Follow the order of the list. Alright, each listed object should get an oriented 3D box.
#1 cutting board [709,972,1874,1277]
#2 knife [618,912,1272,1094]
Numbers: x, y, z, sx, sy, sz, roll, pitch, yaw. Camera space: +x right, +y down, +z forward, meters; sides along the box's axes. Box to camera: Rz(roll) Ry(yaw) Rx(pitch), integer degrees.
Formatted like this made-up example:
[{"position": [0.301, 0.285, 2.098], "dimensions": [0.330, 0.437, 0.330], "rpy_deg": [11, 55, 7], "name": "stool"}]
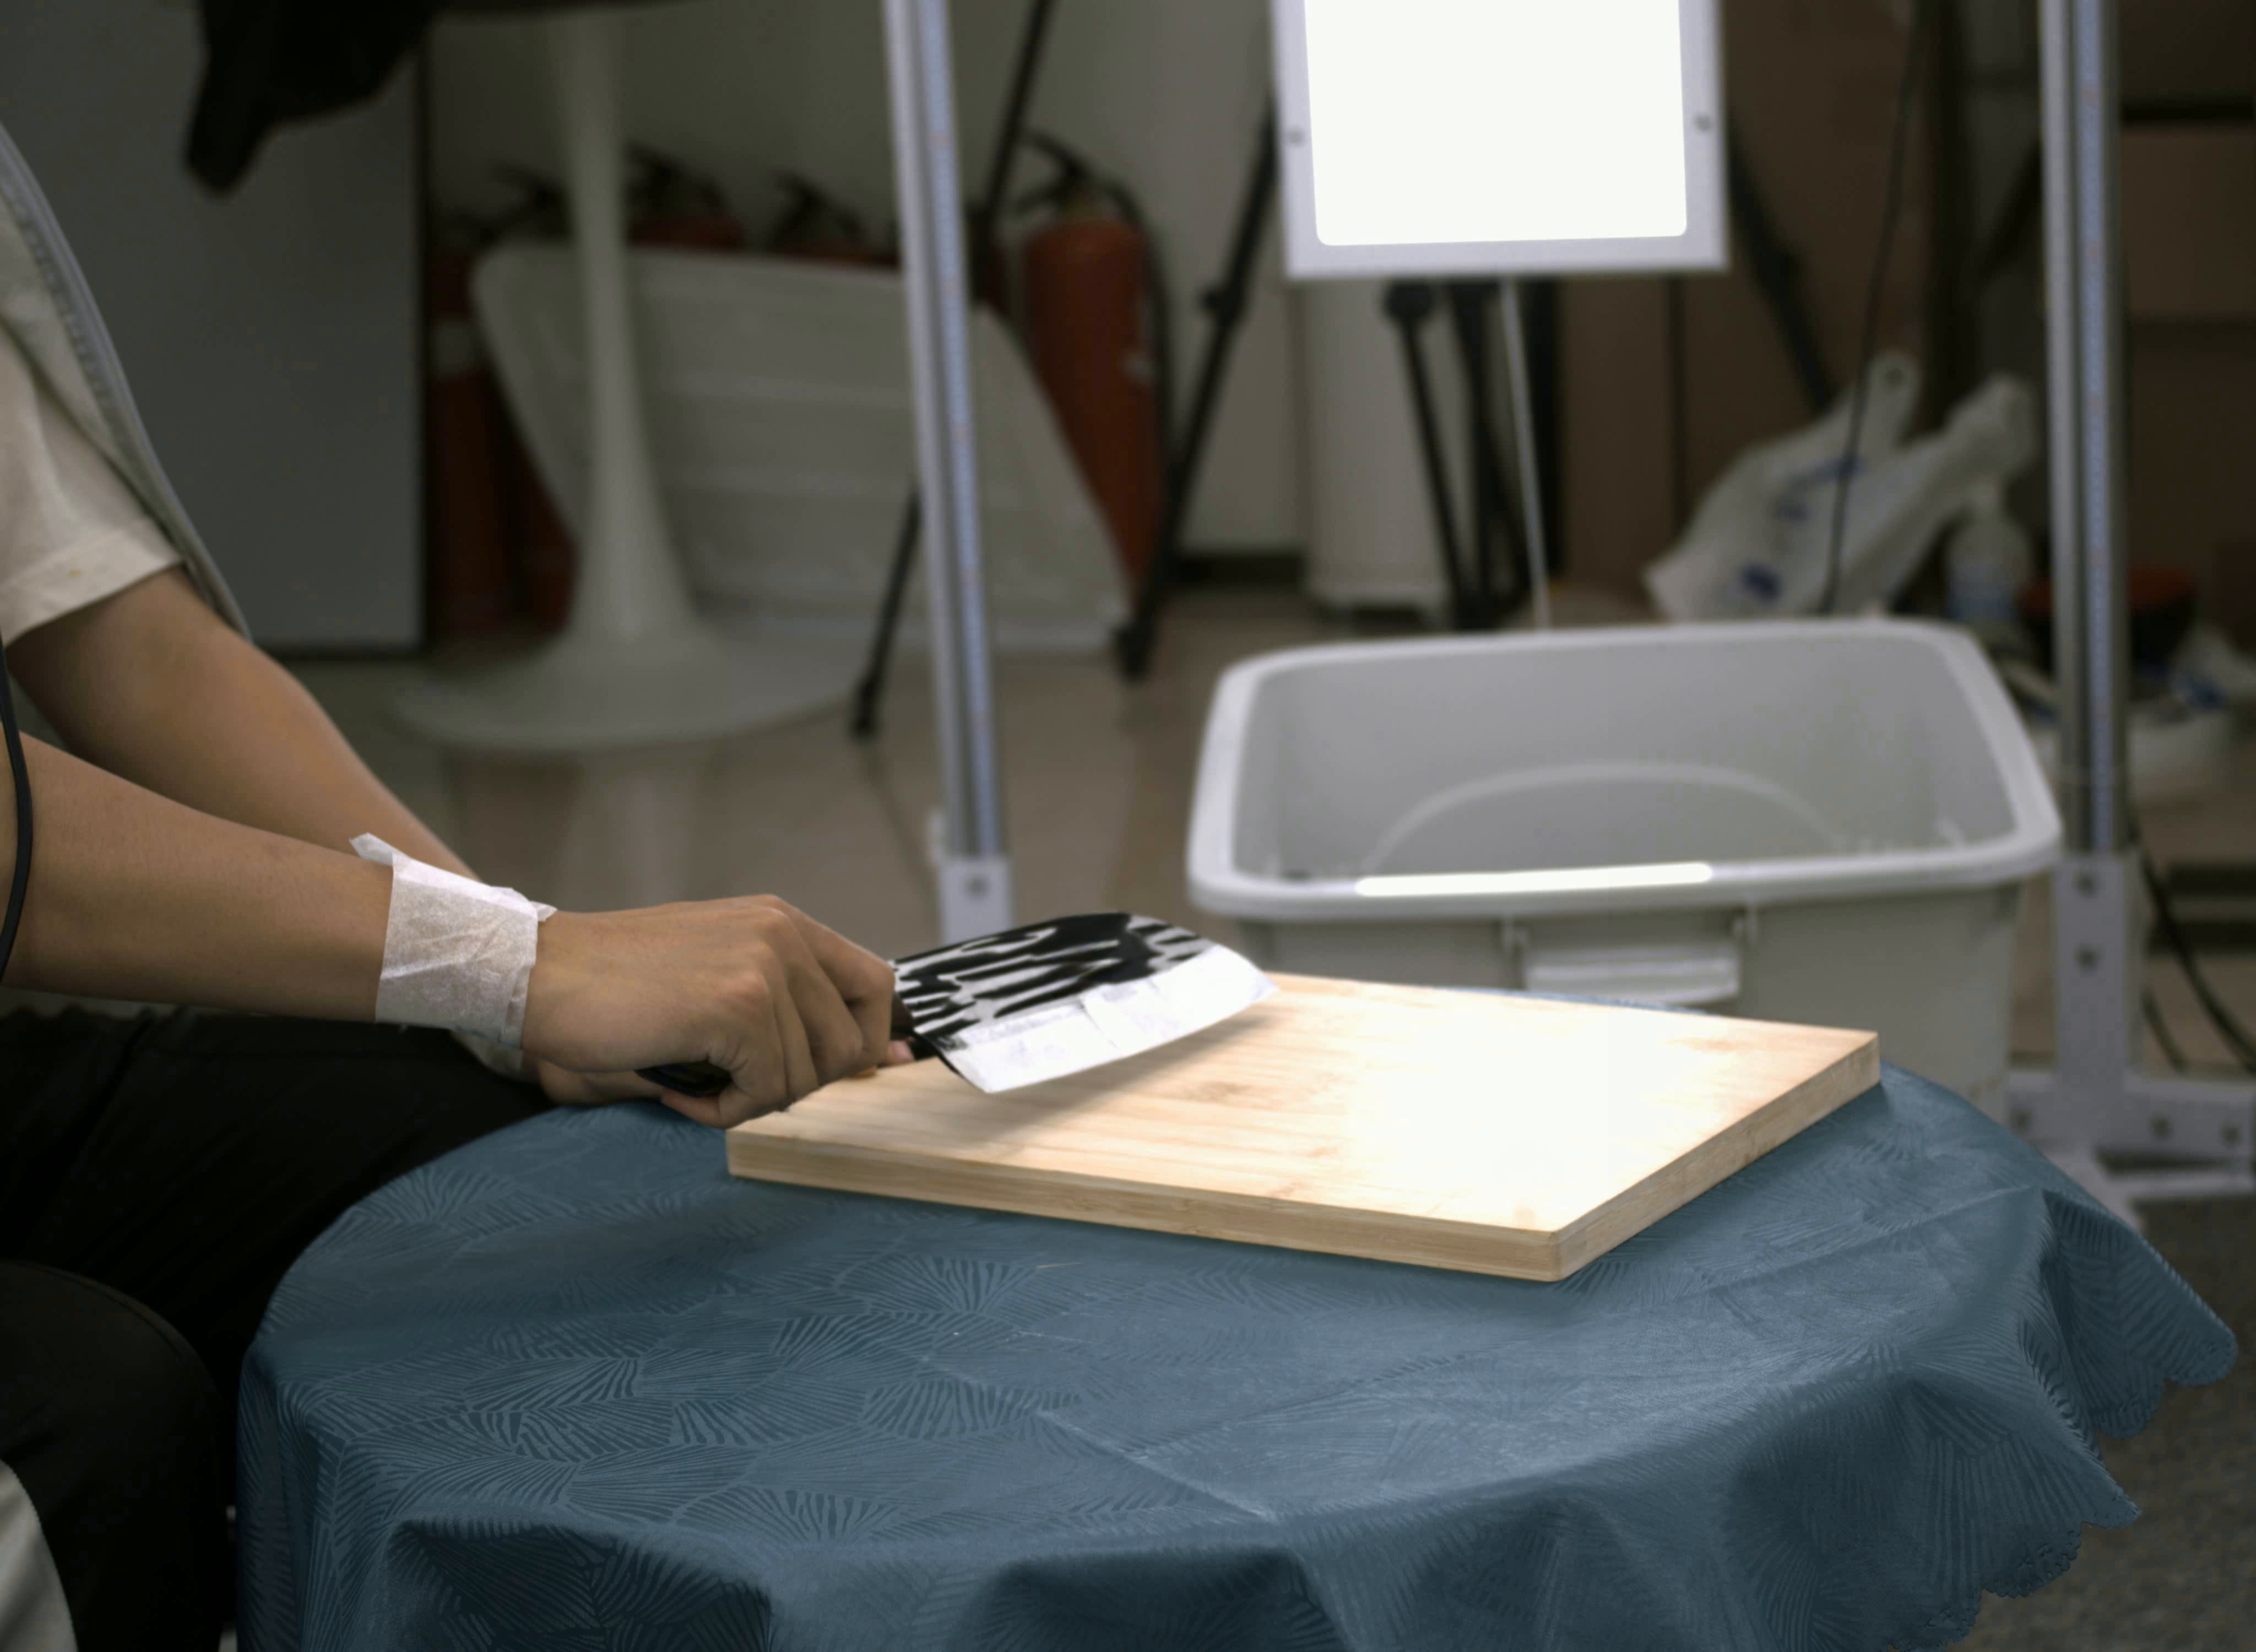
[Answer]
[{"position": [0.058, 0.099, 1.955], "dimensions": [0.356, 0.023, 0.245], "rpy_deg": [4, 16, 34], "name": "cutting board"}, {"position": [-0.057, 0.066, 1.933], "dimensions": [0.292, 0.024, 0.069], "rpy_deg": [-12, 50, -47], "name": "knife"}]
